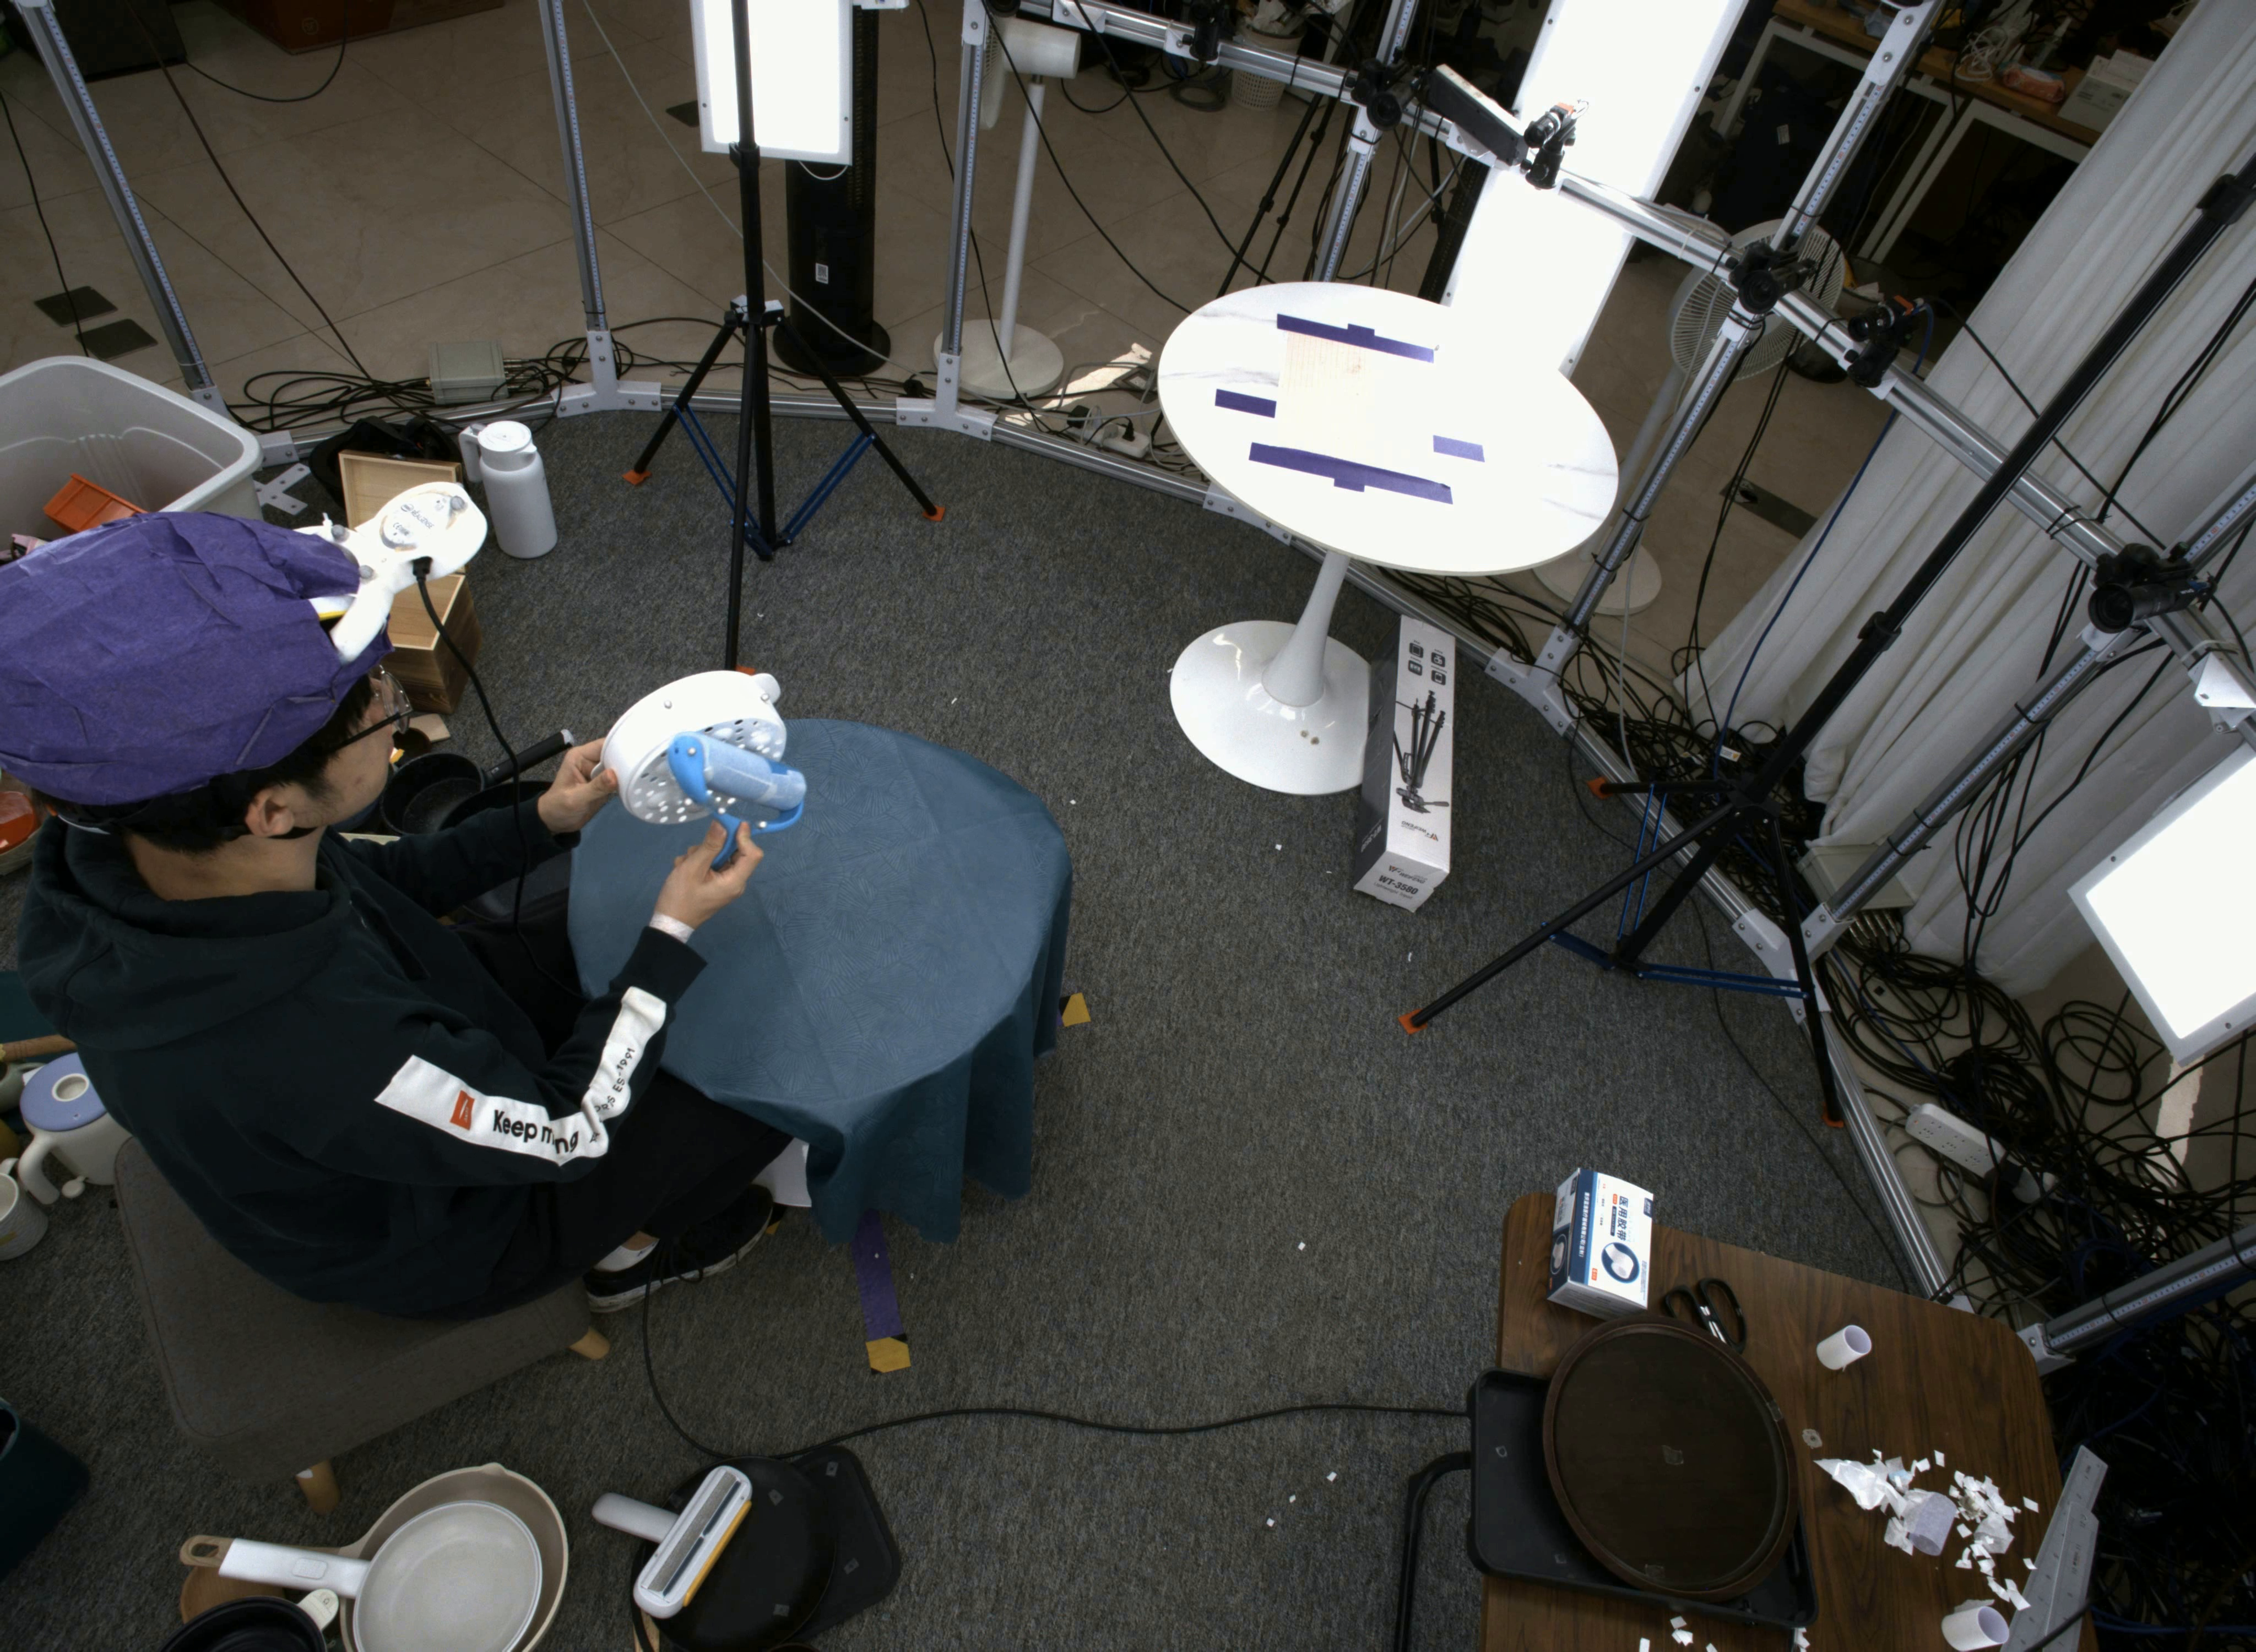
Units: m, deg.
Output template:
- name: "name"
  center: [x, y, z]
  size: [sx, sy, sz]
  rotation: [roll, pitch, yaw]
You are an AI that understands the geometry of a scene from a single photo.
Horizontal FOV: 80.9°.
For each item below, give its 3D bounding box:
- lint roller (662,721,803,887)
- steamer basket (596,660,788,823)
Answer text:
- name: "lint roller"
  center: [-0.443, -0.011, 1.396]
  size: [0.066, 0.232, 0.182]
  rotation: [21, 92, 17]
- name: "steamer basket"
  center: [-0.474, -0.089, 1.420]
  size: [0.230, 0.206, 0.068]
  rotation: [-33, 70, -12]
